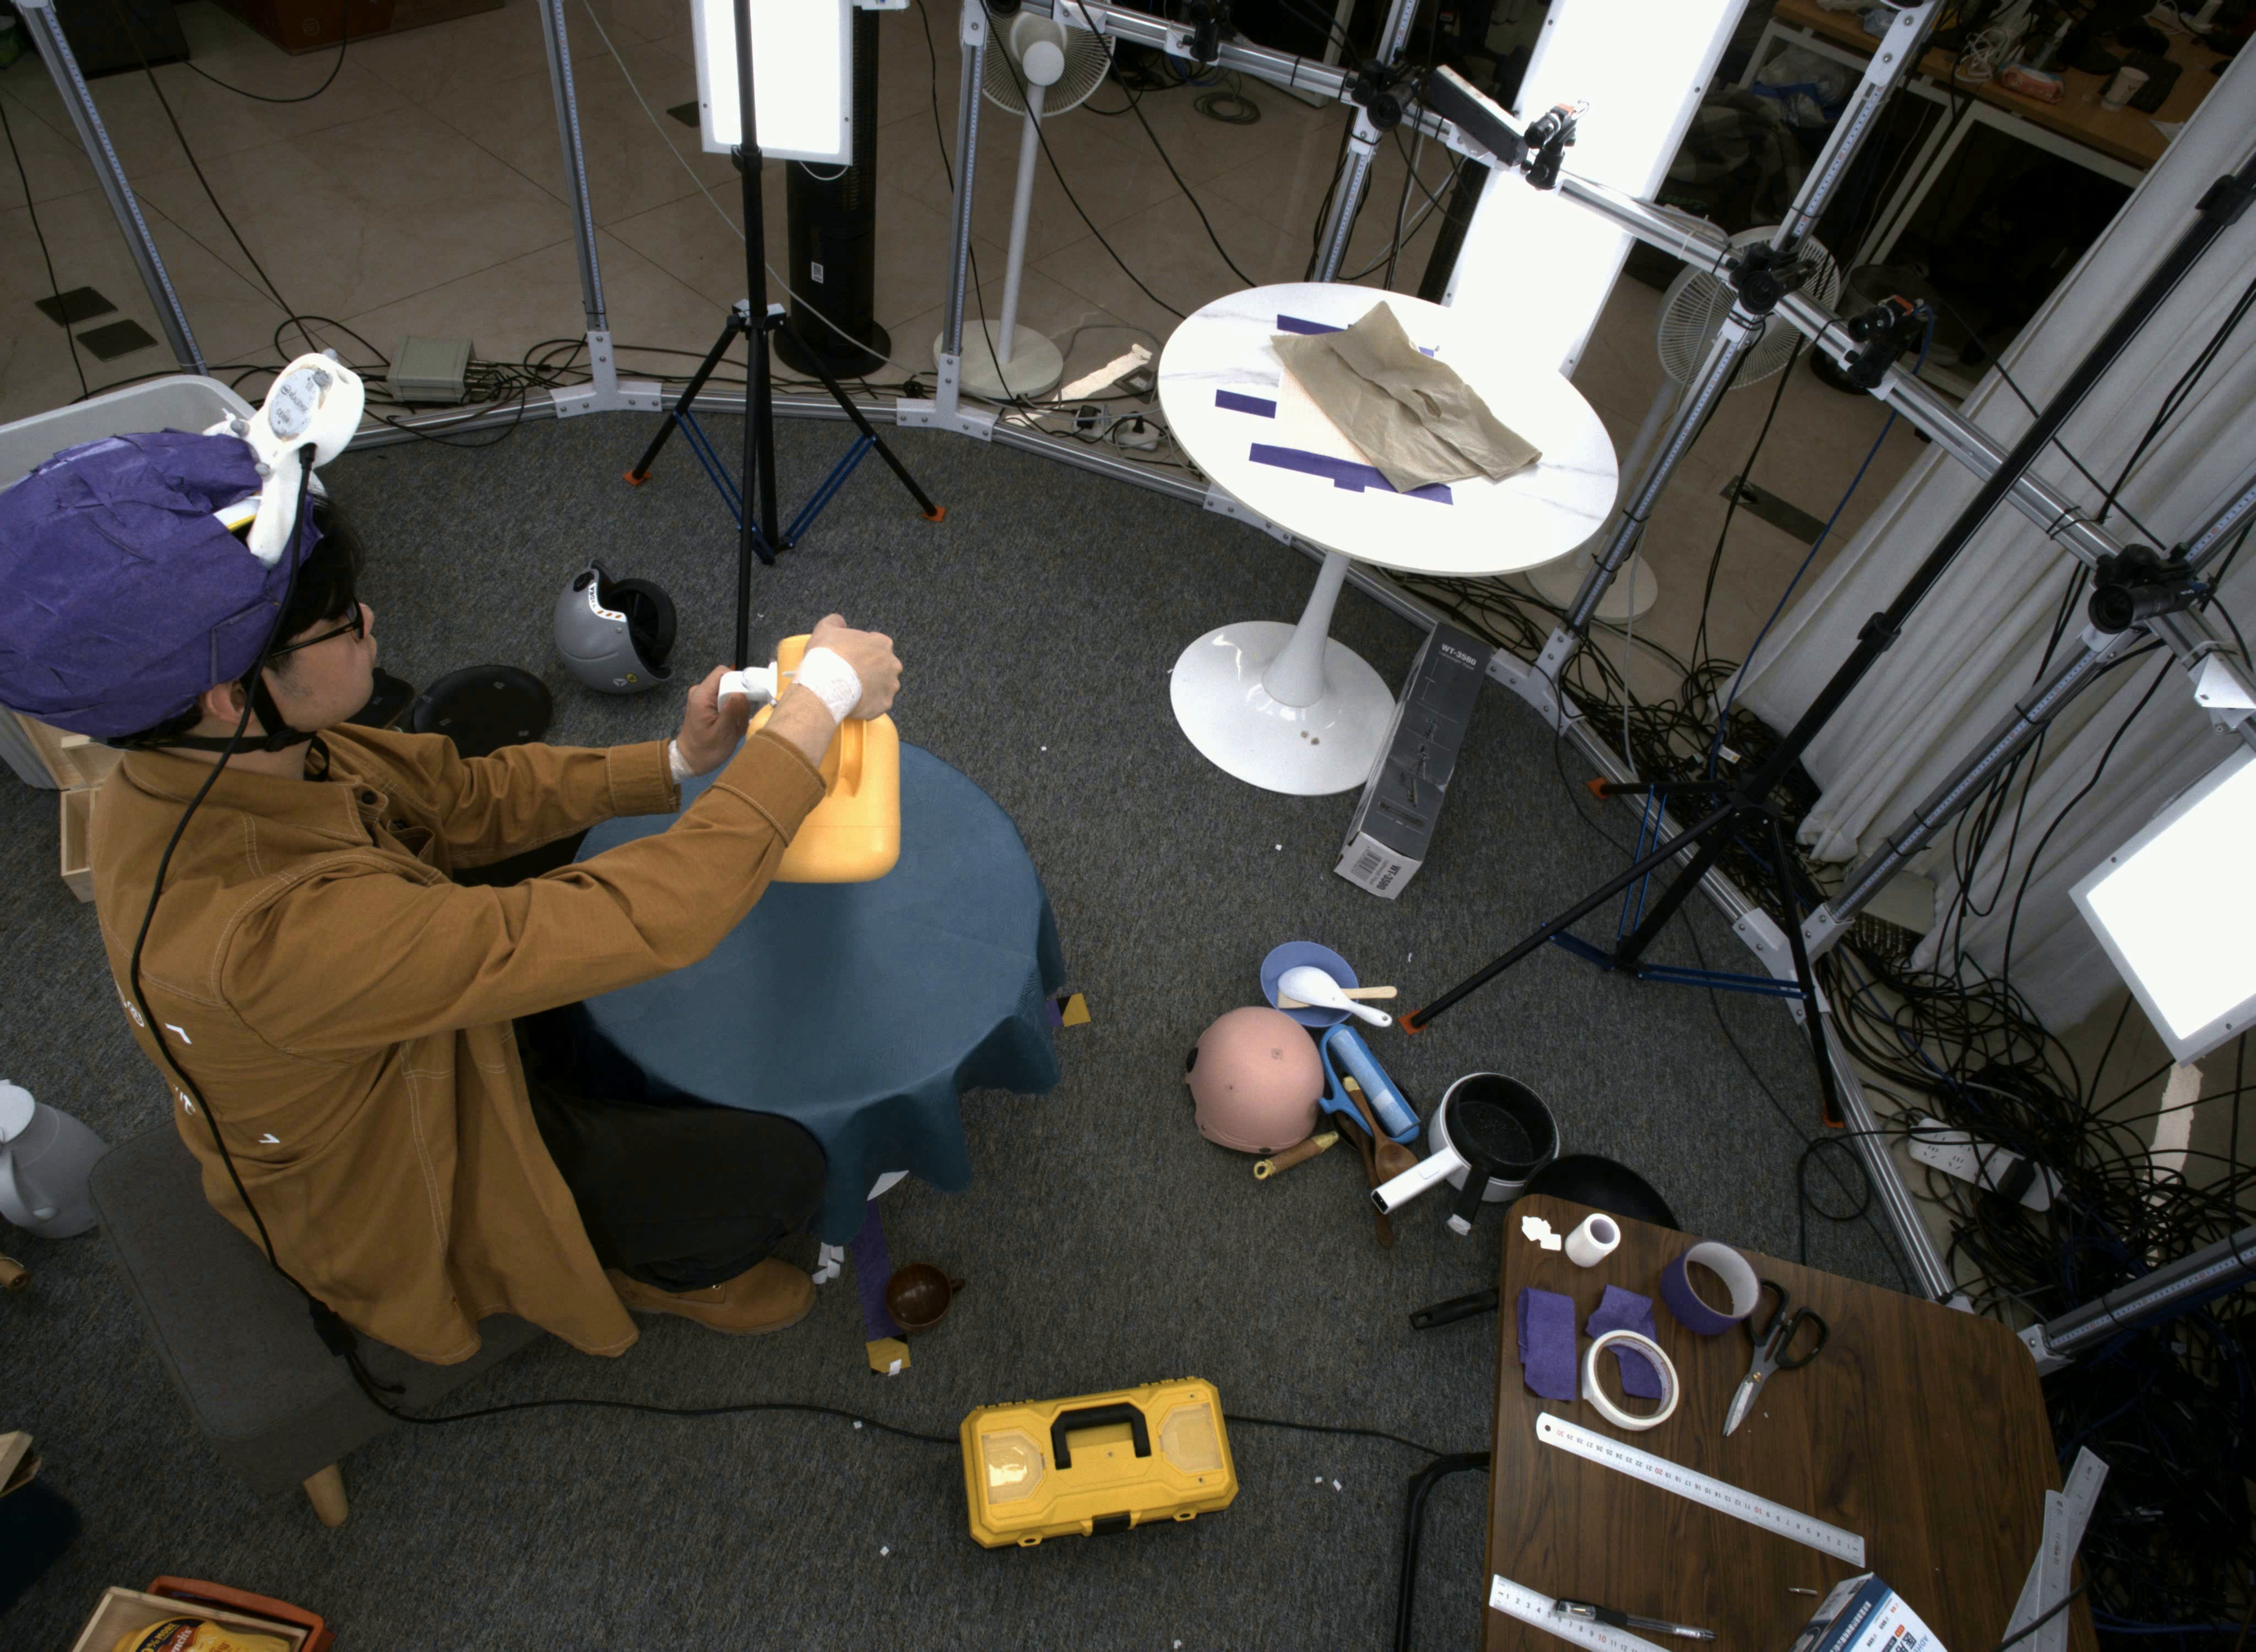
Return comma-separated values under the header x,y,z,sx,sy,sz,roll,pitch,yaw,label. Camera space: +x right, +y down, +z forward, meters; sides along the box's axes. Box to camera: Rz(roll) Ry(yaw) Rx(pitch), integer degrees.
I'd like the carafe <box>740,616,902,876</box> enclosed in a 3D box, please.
x,y,z,sx,sy,sz,roll,pitch,yaw,label
-0.316,-0.082,1.337,0.165,0.198,0.264,-5,92,-25,carafe

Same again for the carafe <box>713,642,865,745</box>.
x,y,z,sx,sy,sz,roll,pitch,yaw,label
-0.411,-0.107,1.574,0.173,0.272,0.122,2,61,-13,carafe
